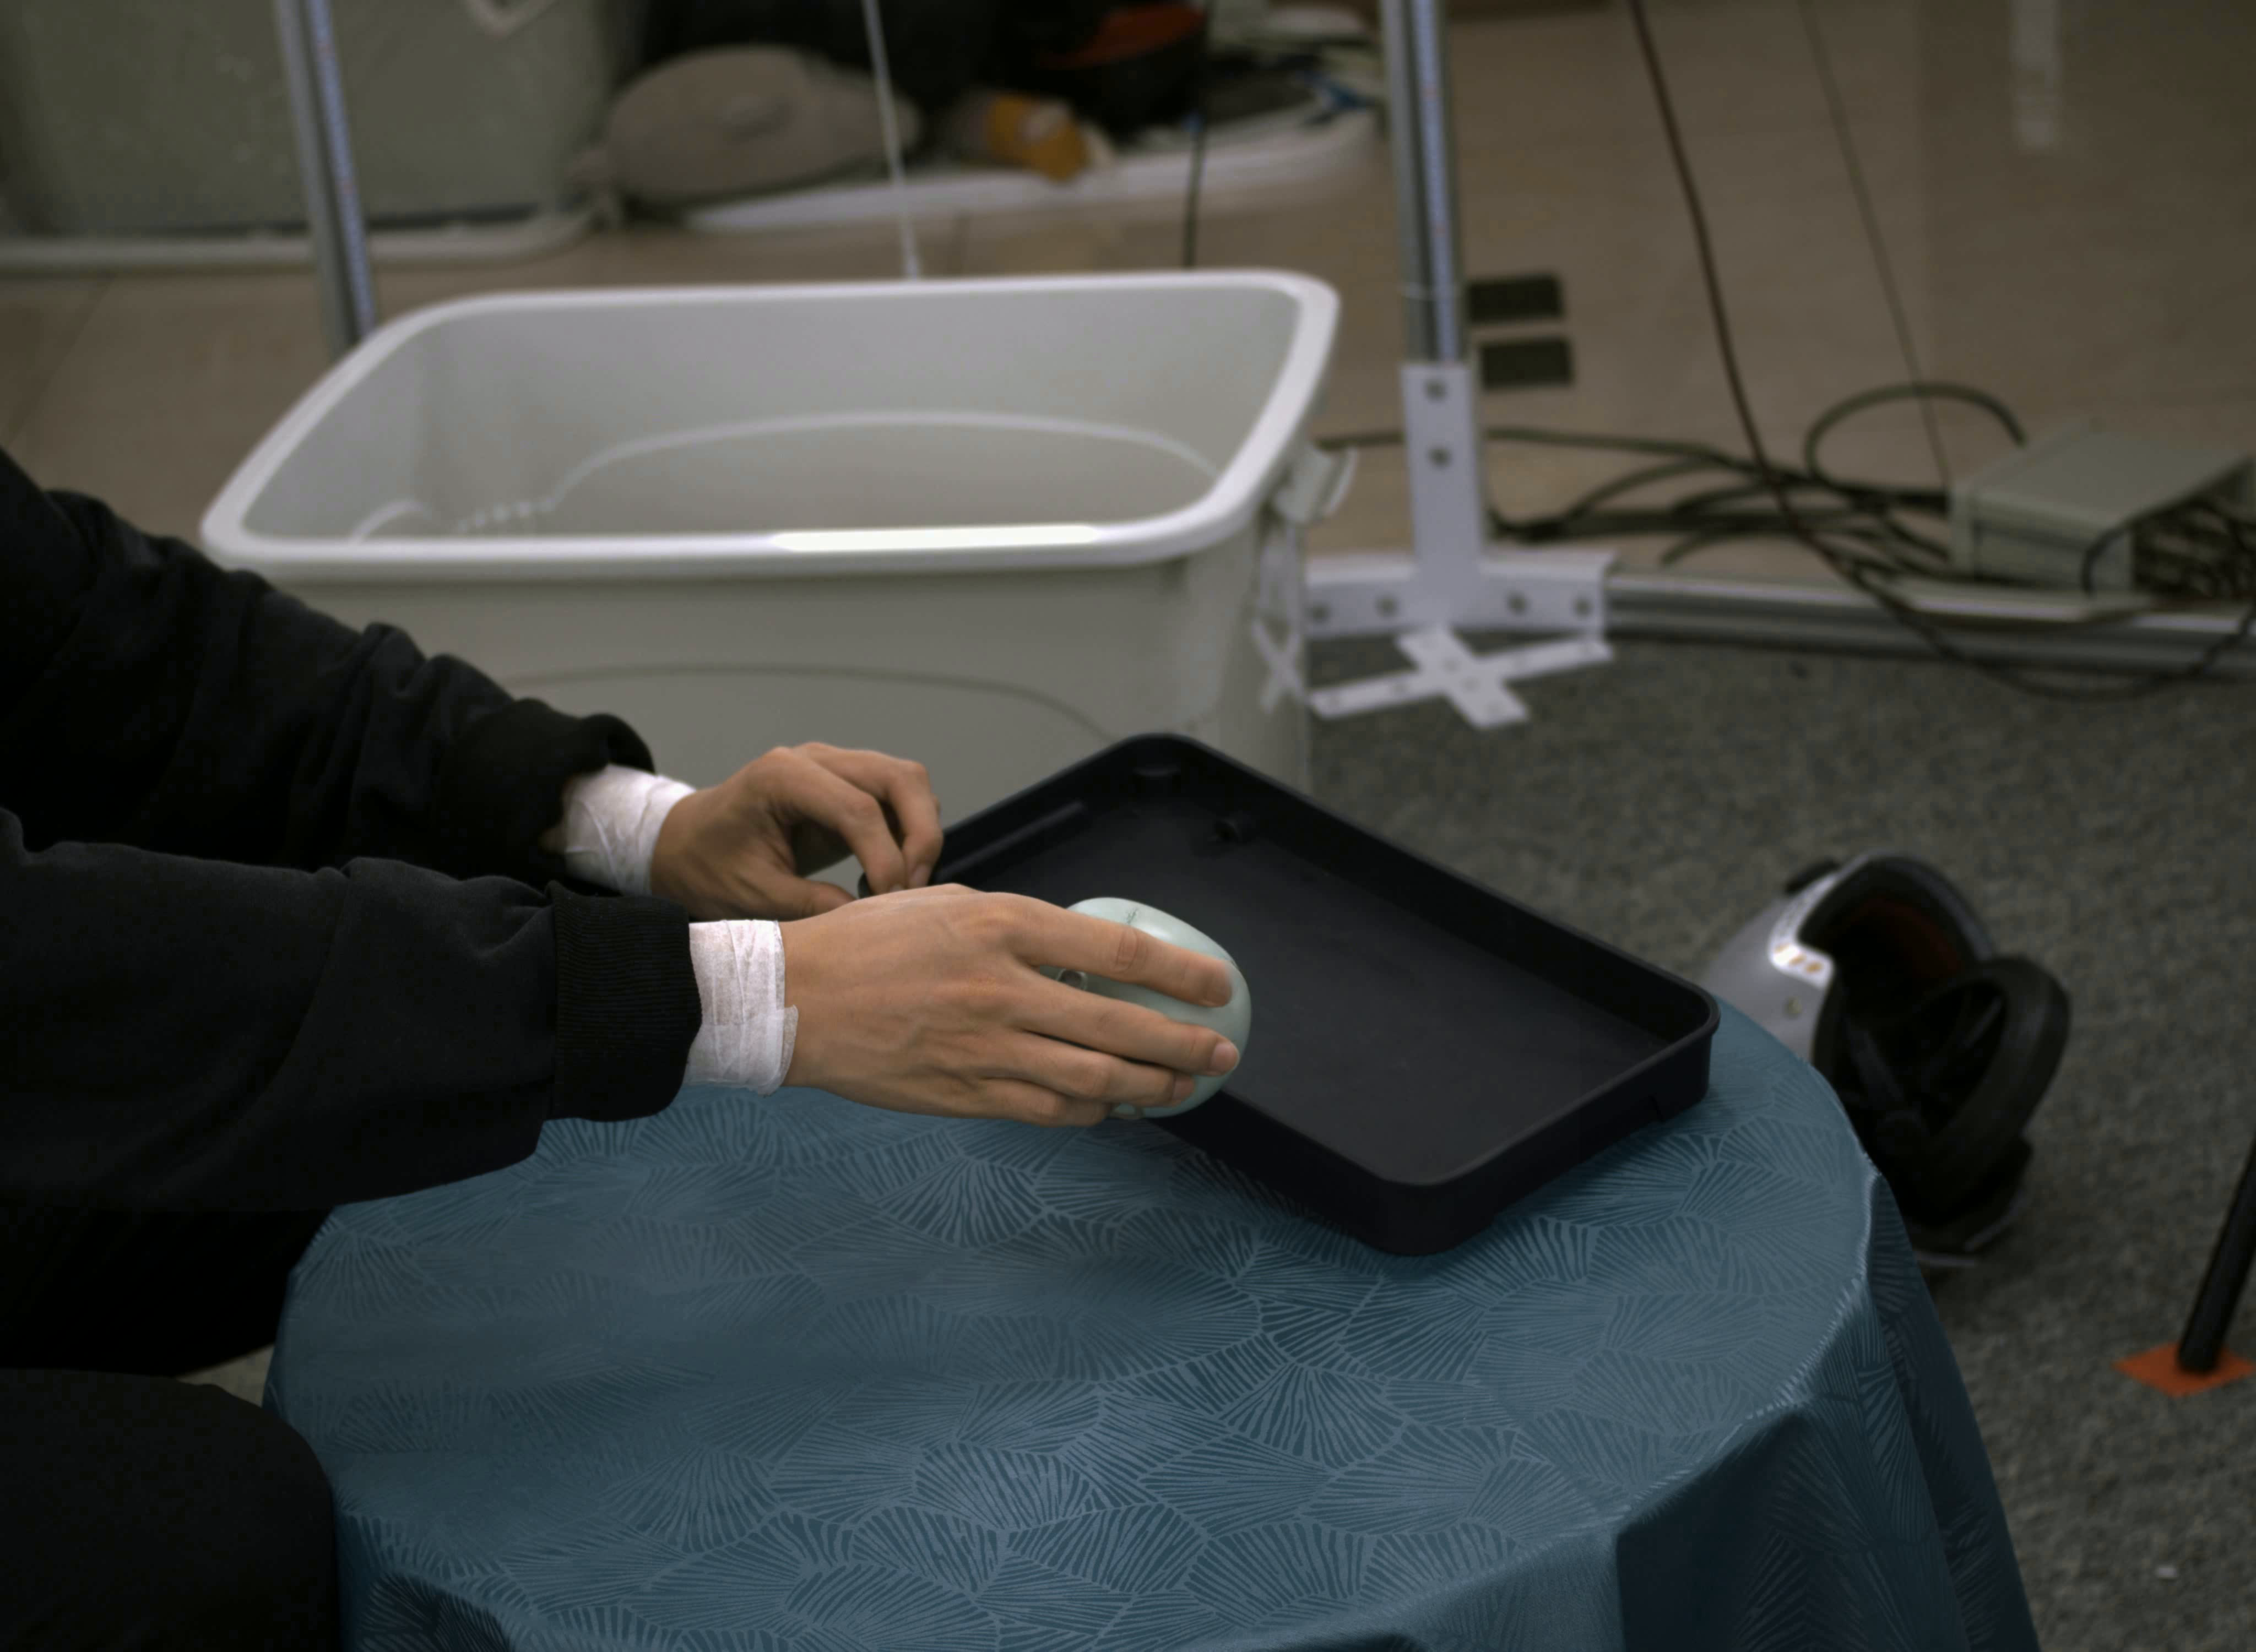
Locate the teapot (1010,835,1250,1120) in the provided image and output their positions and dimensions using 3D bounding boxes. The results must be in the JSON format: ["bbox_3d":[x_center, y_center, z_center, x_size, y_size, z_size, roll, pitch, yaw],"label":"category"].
[{"bbox_3d":[0.001,0.065,2.071,0.088,0.146,0.074,16,70,34],"label":"teapot"}]

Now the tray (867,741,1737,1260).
[{"bbox_3d":[0.064,0.063,2.208,0.315,0.038,0.182,26,39,36],"label":"tray"}]
